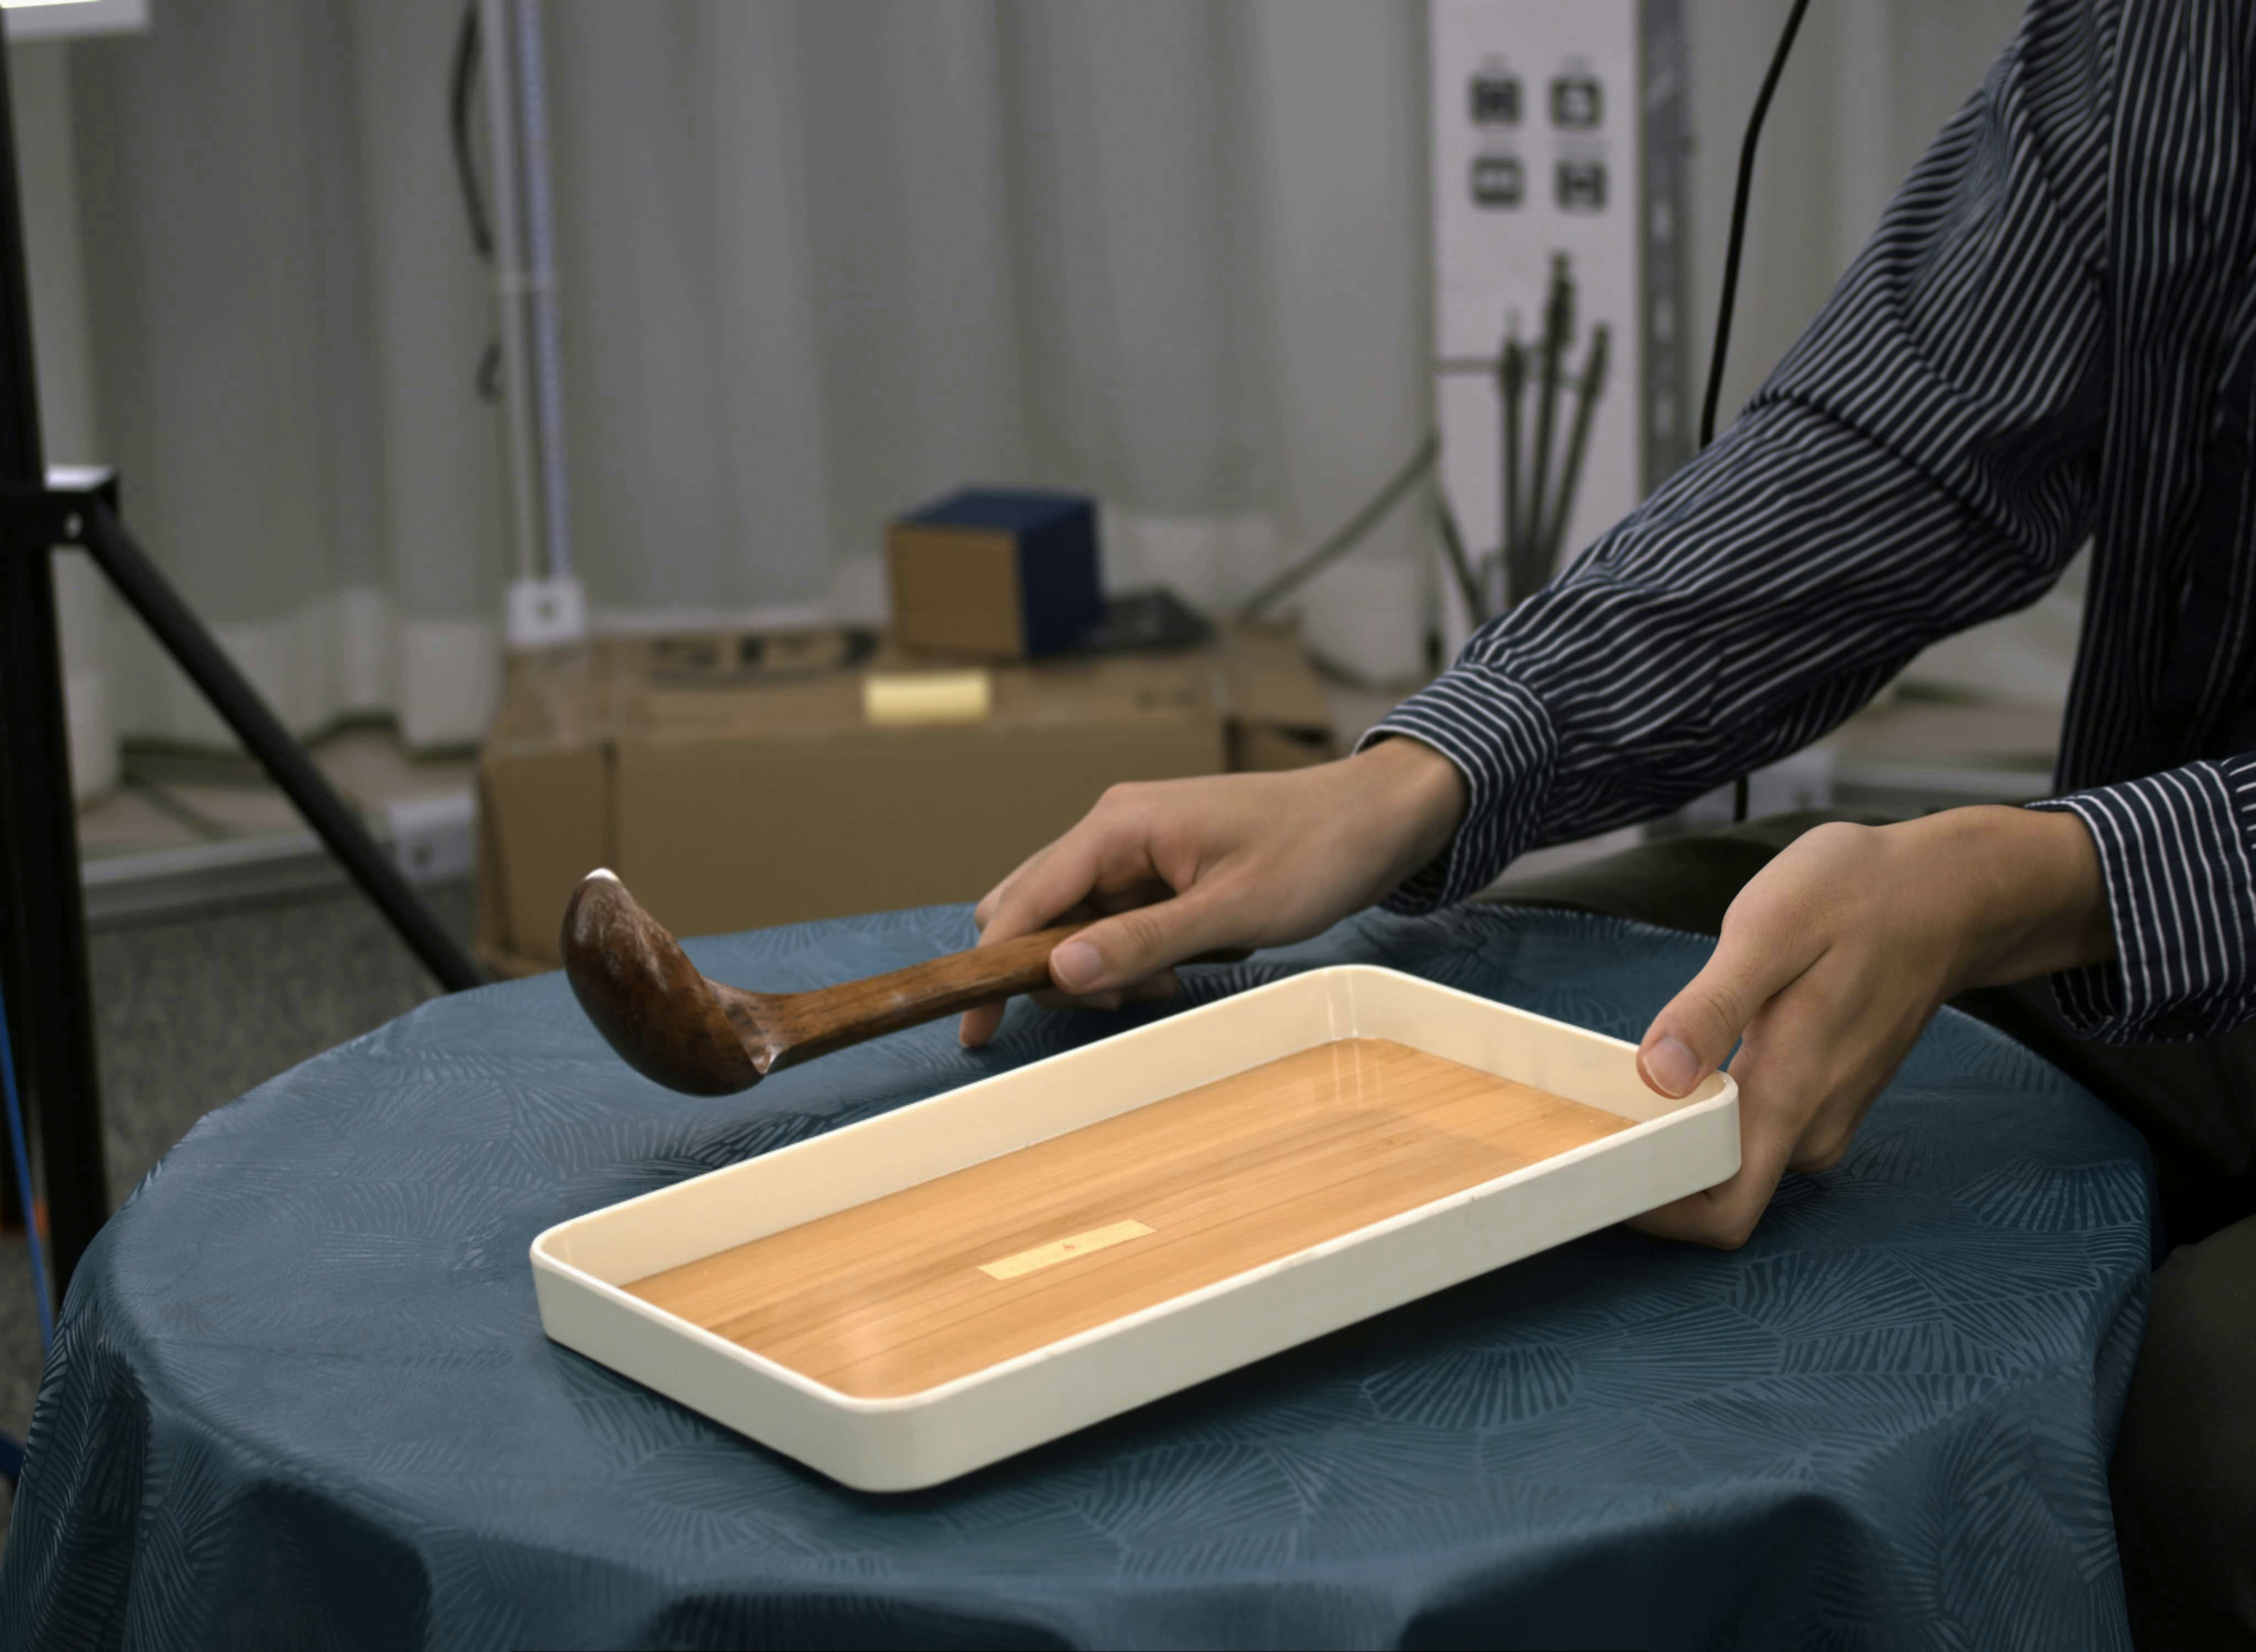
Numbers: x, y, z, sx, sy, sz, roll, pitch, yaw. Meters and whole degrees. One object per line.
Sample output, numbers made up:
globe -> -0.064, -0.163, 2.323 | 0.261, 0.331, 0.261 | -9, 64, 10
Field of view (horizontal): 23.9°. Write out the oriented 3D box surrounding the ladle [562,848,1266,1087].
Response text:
ladle -> -0.057, 0.030, 1.660 | 0.267, 0.077, 0.083 | -10, 48, -35

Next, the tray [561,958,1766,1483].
tray -> 0.011, 0.104, 1.482 | 0.294, 0.027, 0.196 | -17, 19, -30
